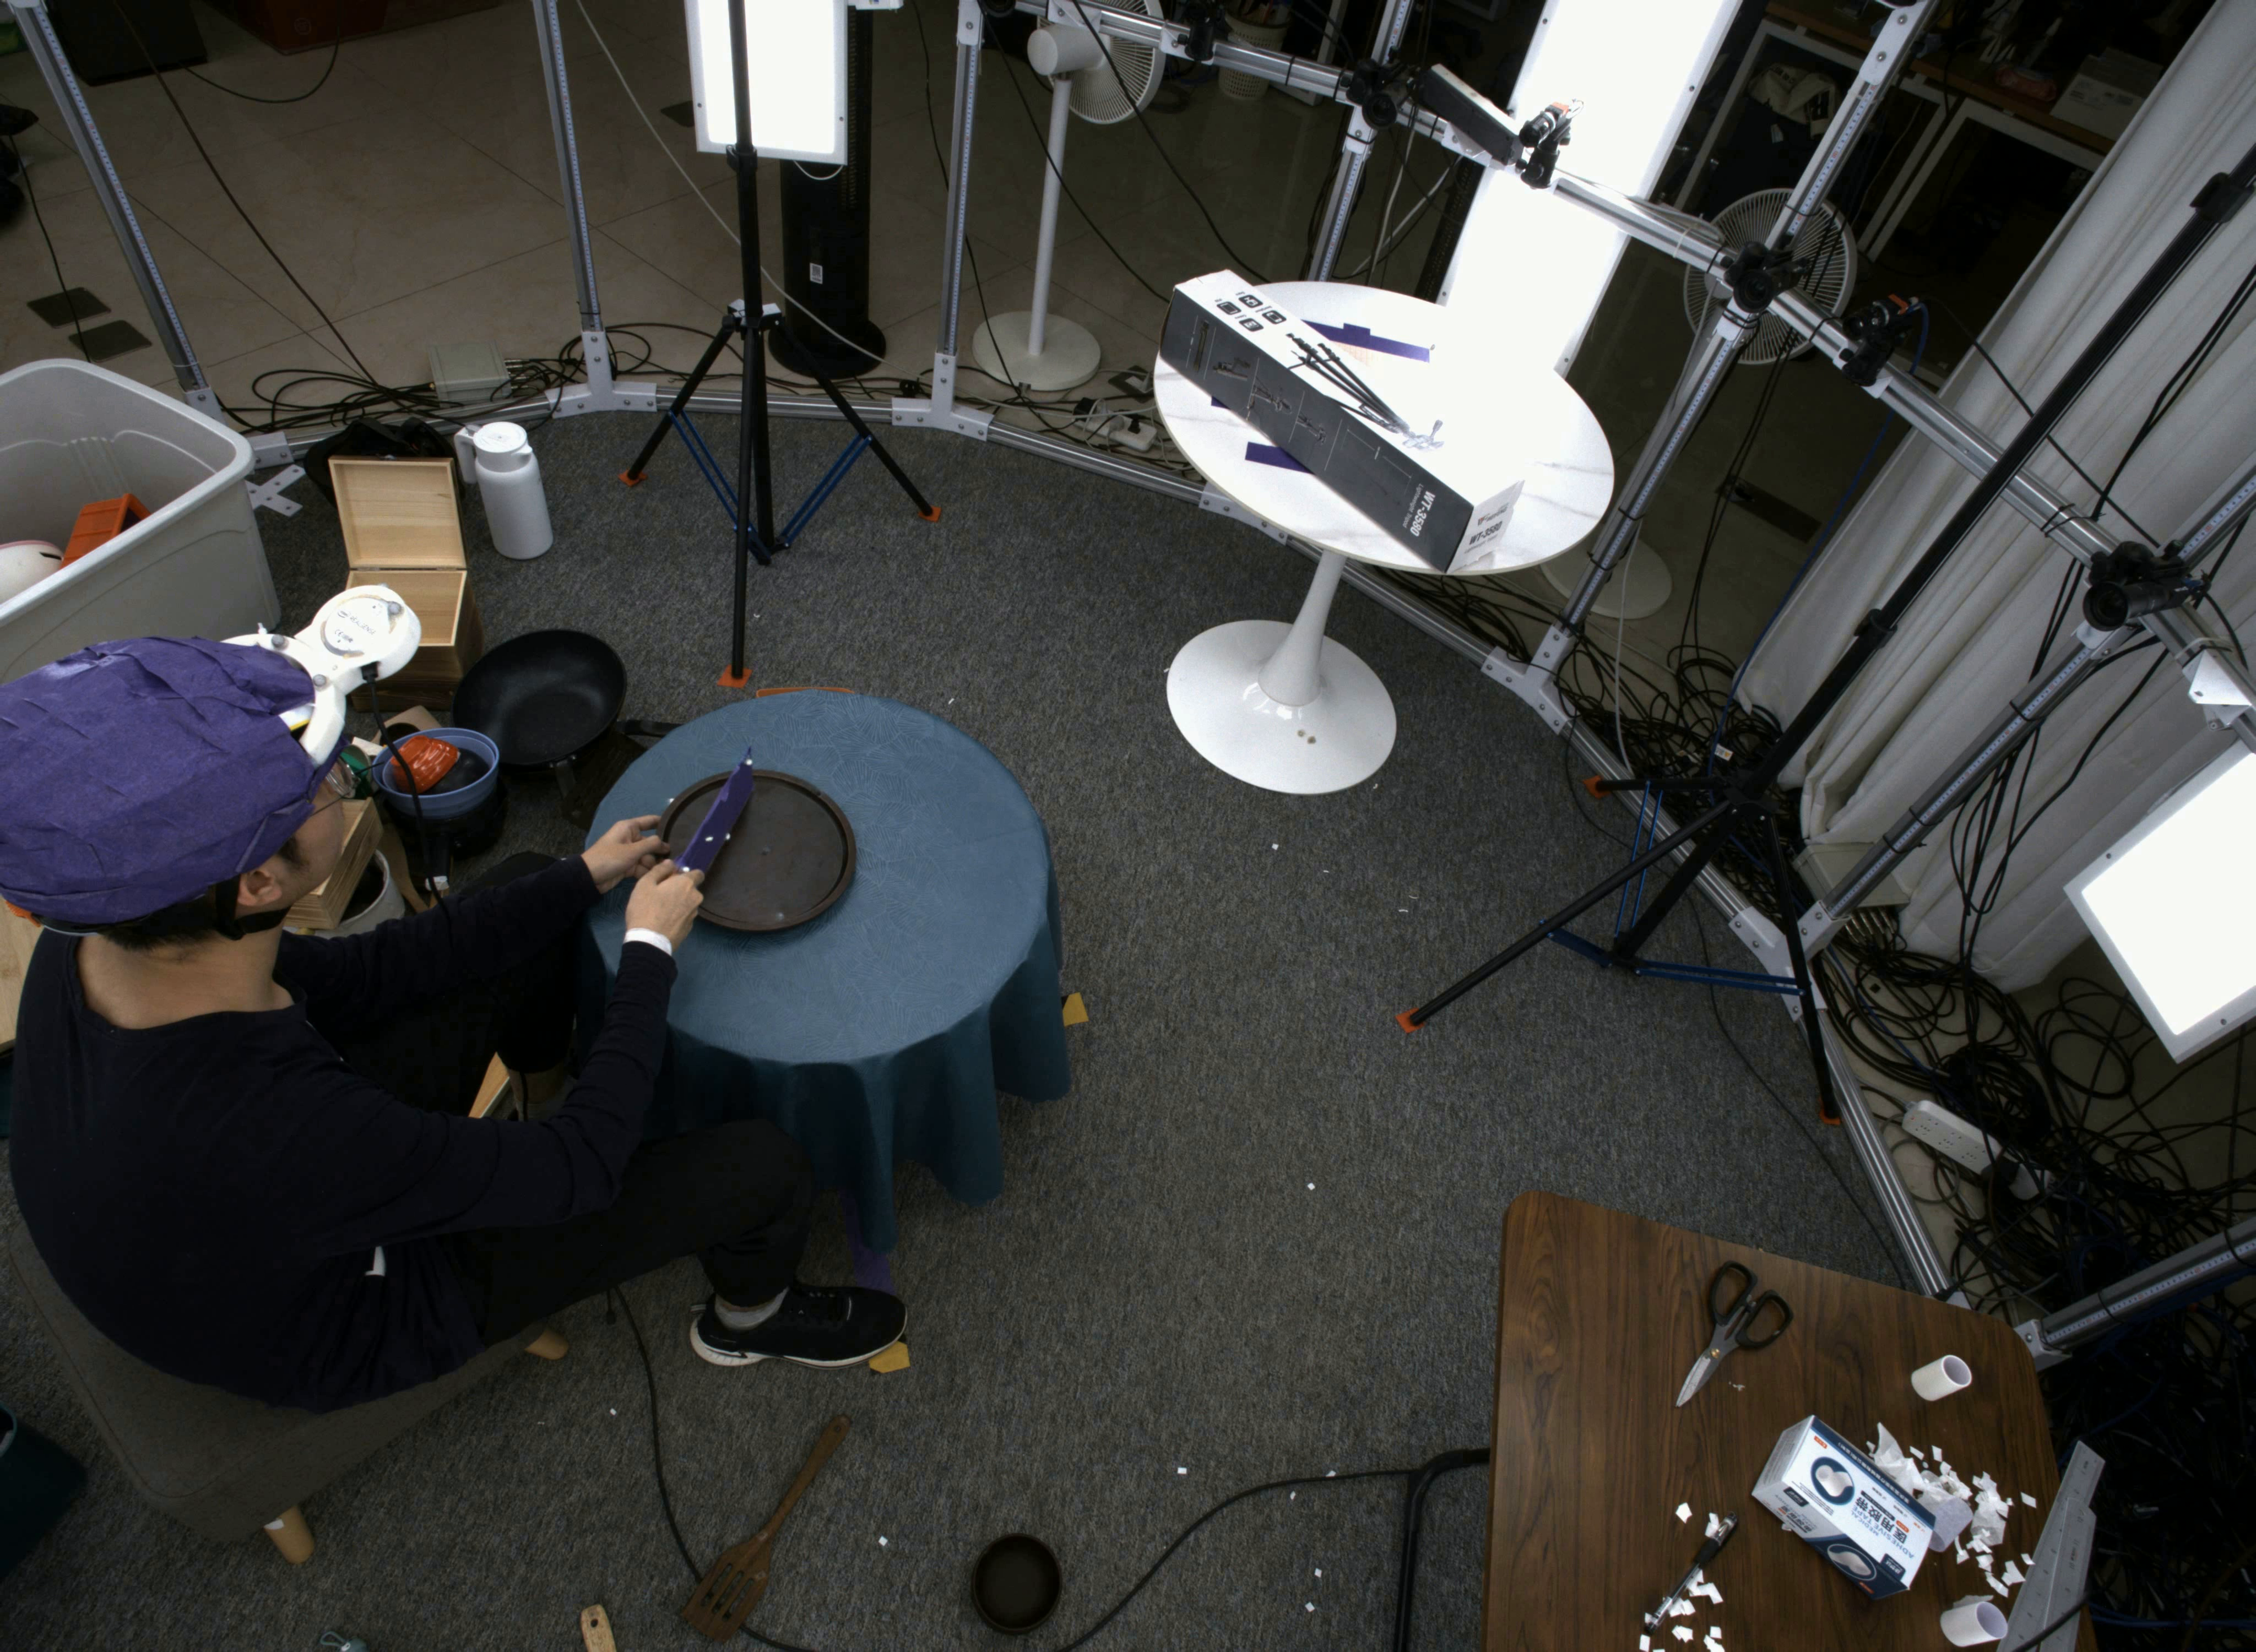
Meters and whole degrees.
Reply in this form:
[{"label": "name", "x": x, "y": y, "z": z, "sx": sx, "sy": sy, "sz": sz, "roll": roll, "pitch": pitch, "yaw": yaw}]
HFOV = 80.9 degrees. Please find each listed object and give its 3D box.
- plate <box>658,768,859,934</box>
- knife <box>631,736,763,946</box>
[{"label": "plate", "x": -0.476, "y": 0.030, "z": 1.670, "sx": 0.256, "sy": 0.029, "sz": 0.250, "roll": 12, "pitch": 51, "yaw": -13}, {"label": "knife", "x": -0.518, "y": 0.031, "z": 1.581, "sx": 0.032, "sy": 0.106, "sz": 0.312, "roll": 18, "pitch": 52, "yaw": 4}]
